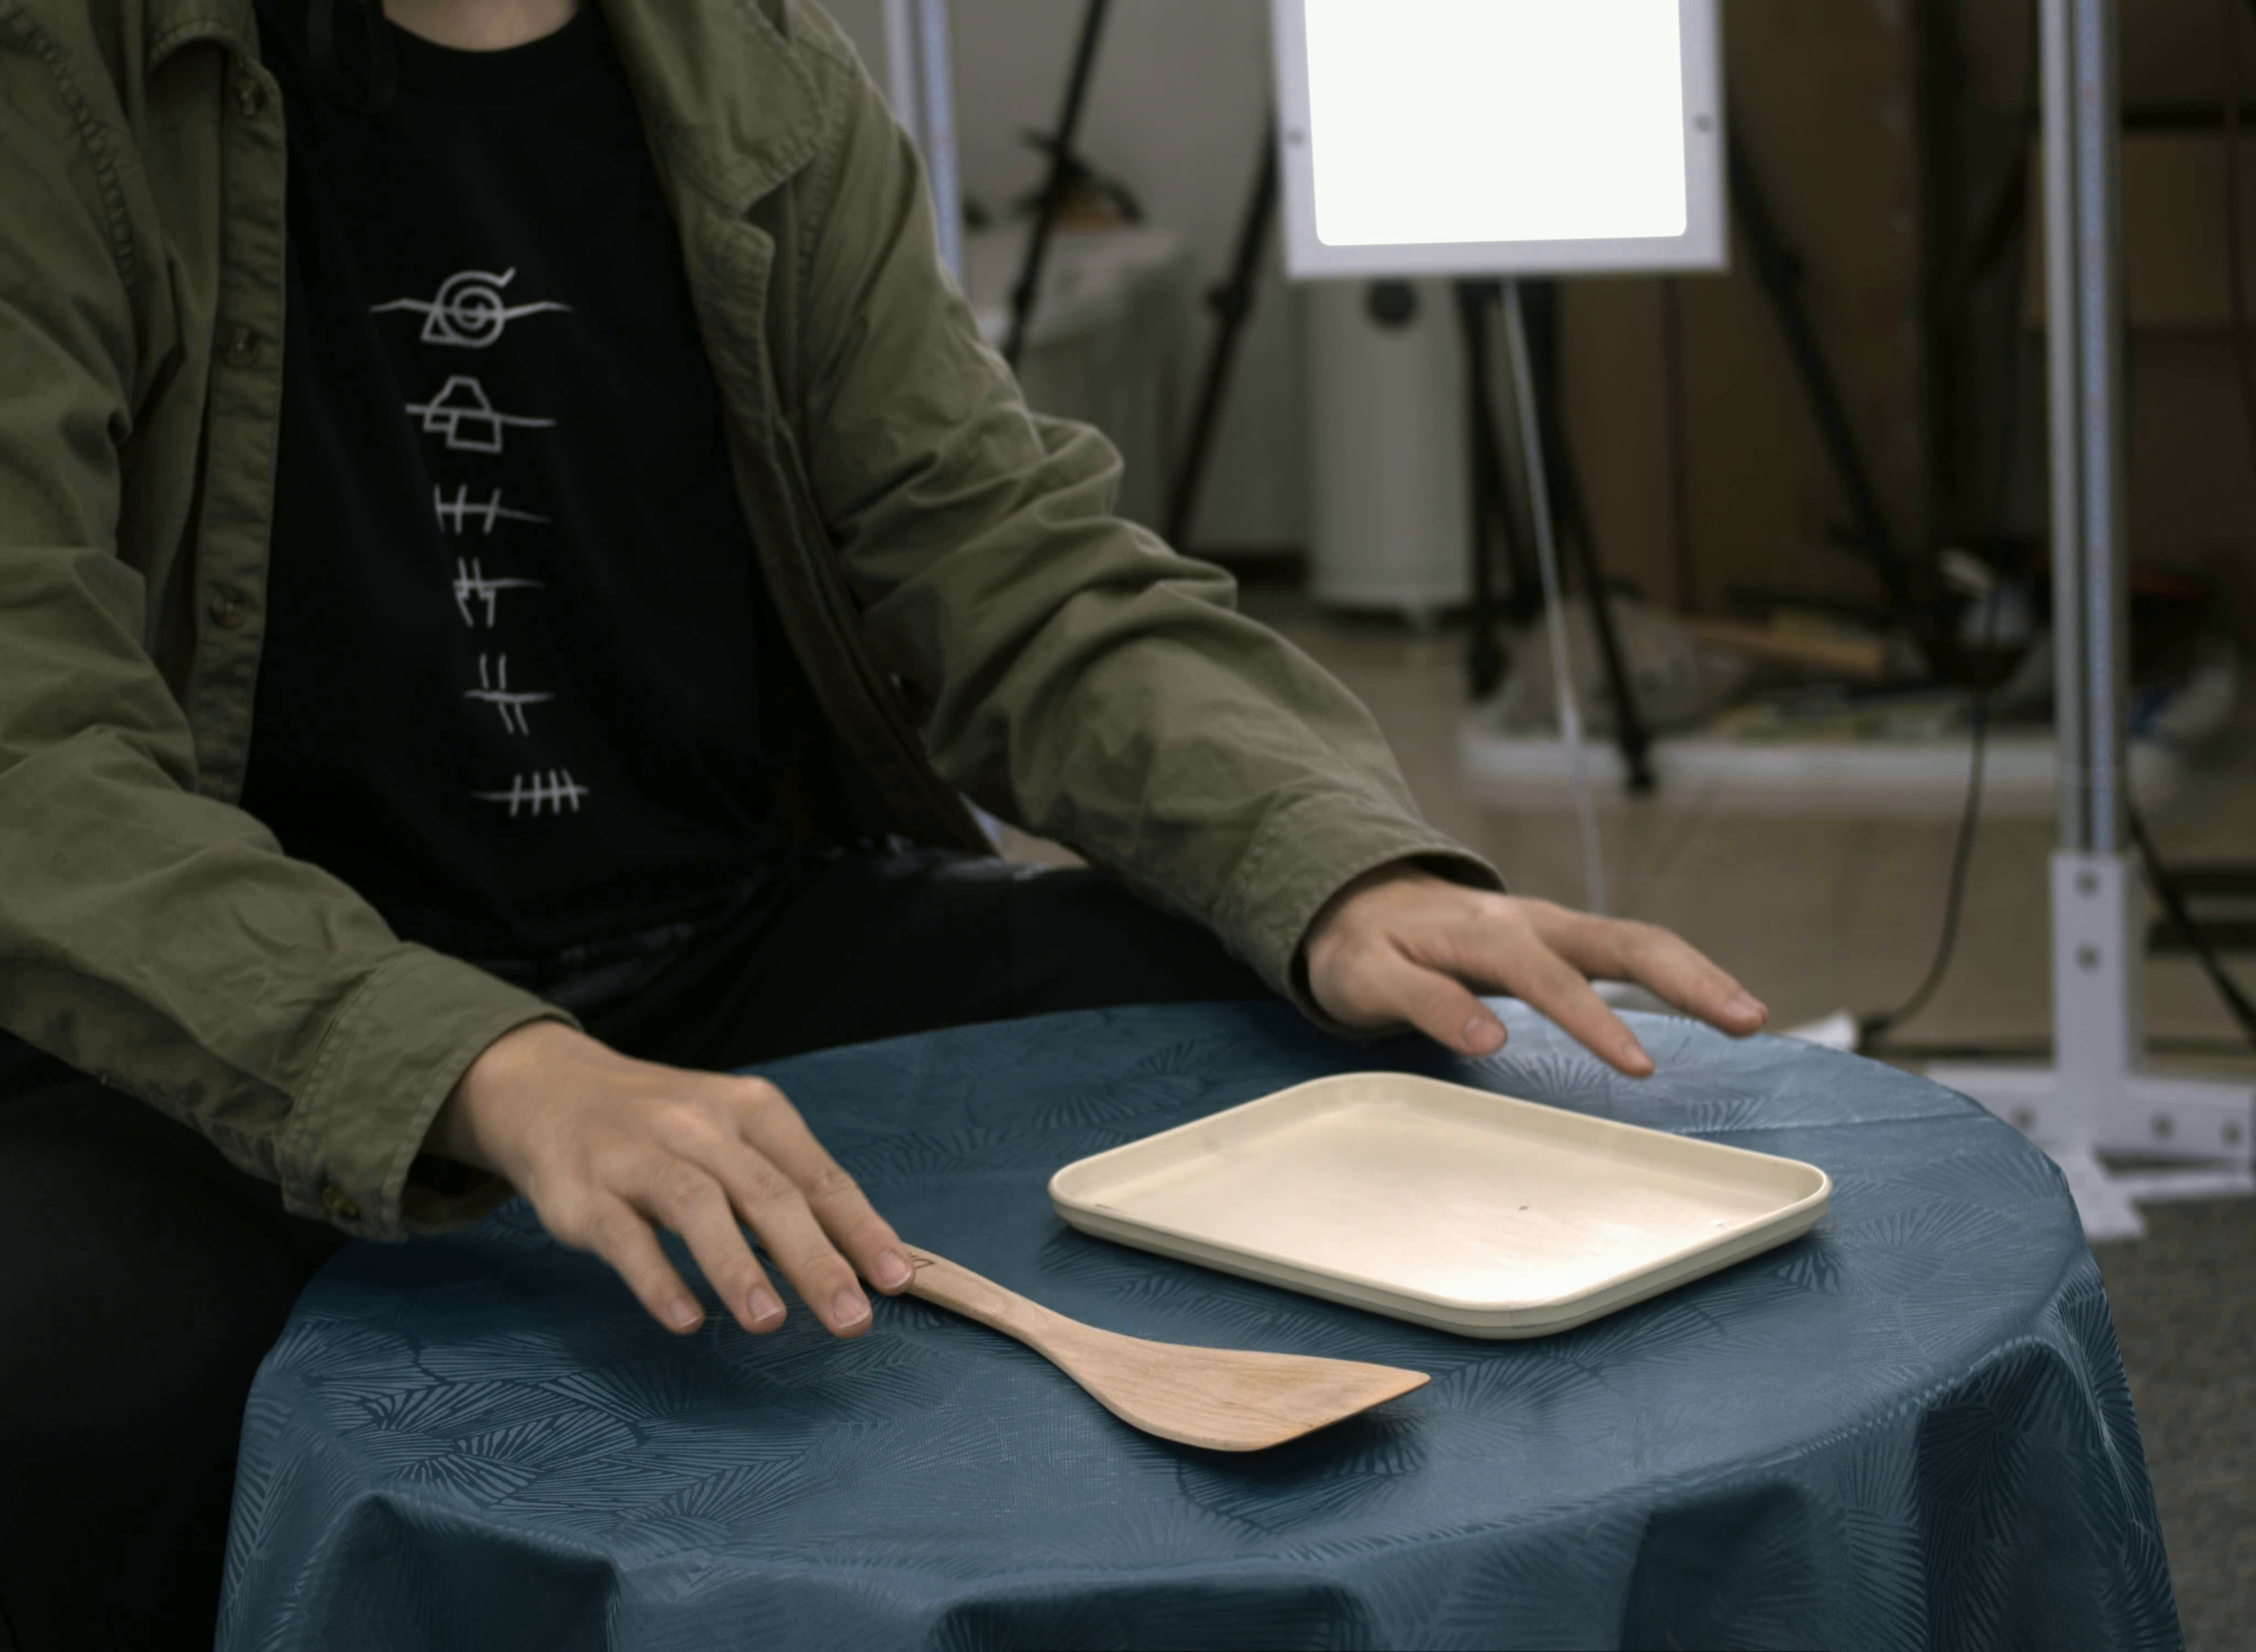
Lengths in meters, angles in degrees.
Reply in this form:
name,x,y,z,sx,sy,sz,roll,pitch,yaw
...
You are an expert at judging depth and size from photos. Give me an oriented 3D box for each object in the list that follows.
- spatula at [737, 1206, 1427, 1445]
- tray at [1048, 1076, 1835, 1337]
name,x,y,z,sx,sy,sz,roll,pitch,yaw
spatula,-0.028,0.154,1.756,0.078,0.016,0.334,-14,17,-34
tray,0.103,0.125,1.824,0.167,0.017,0.245,-16,17,-39
